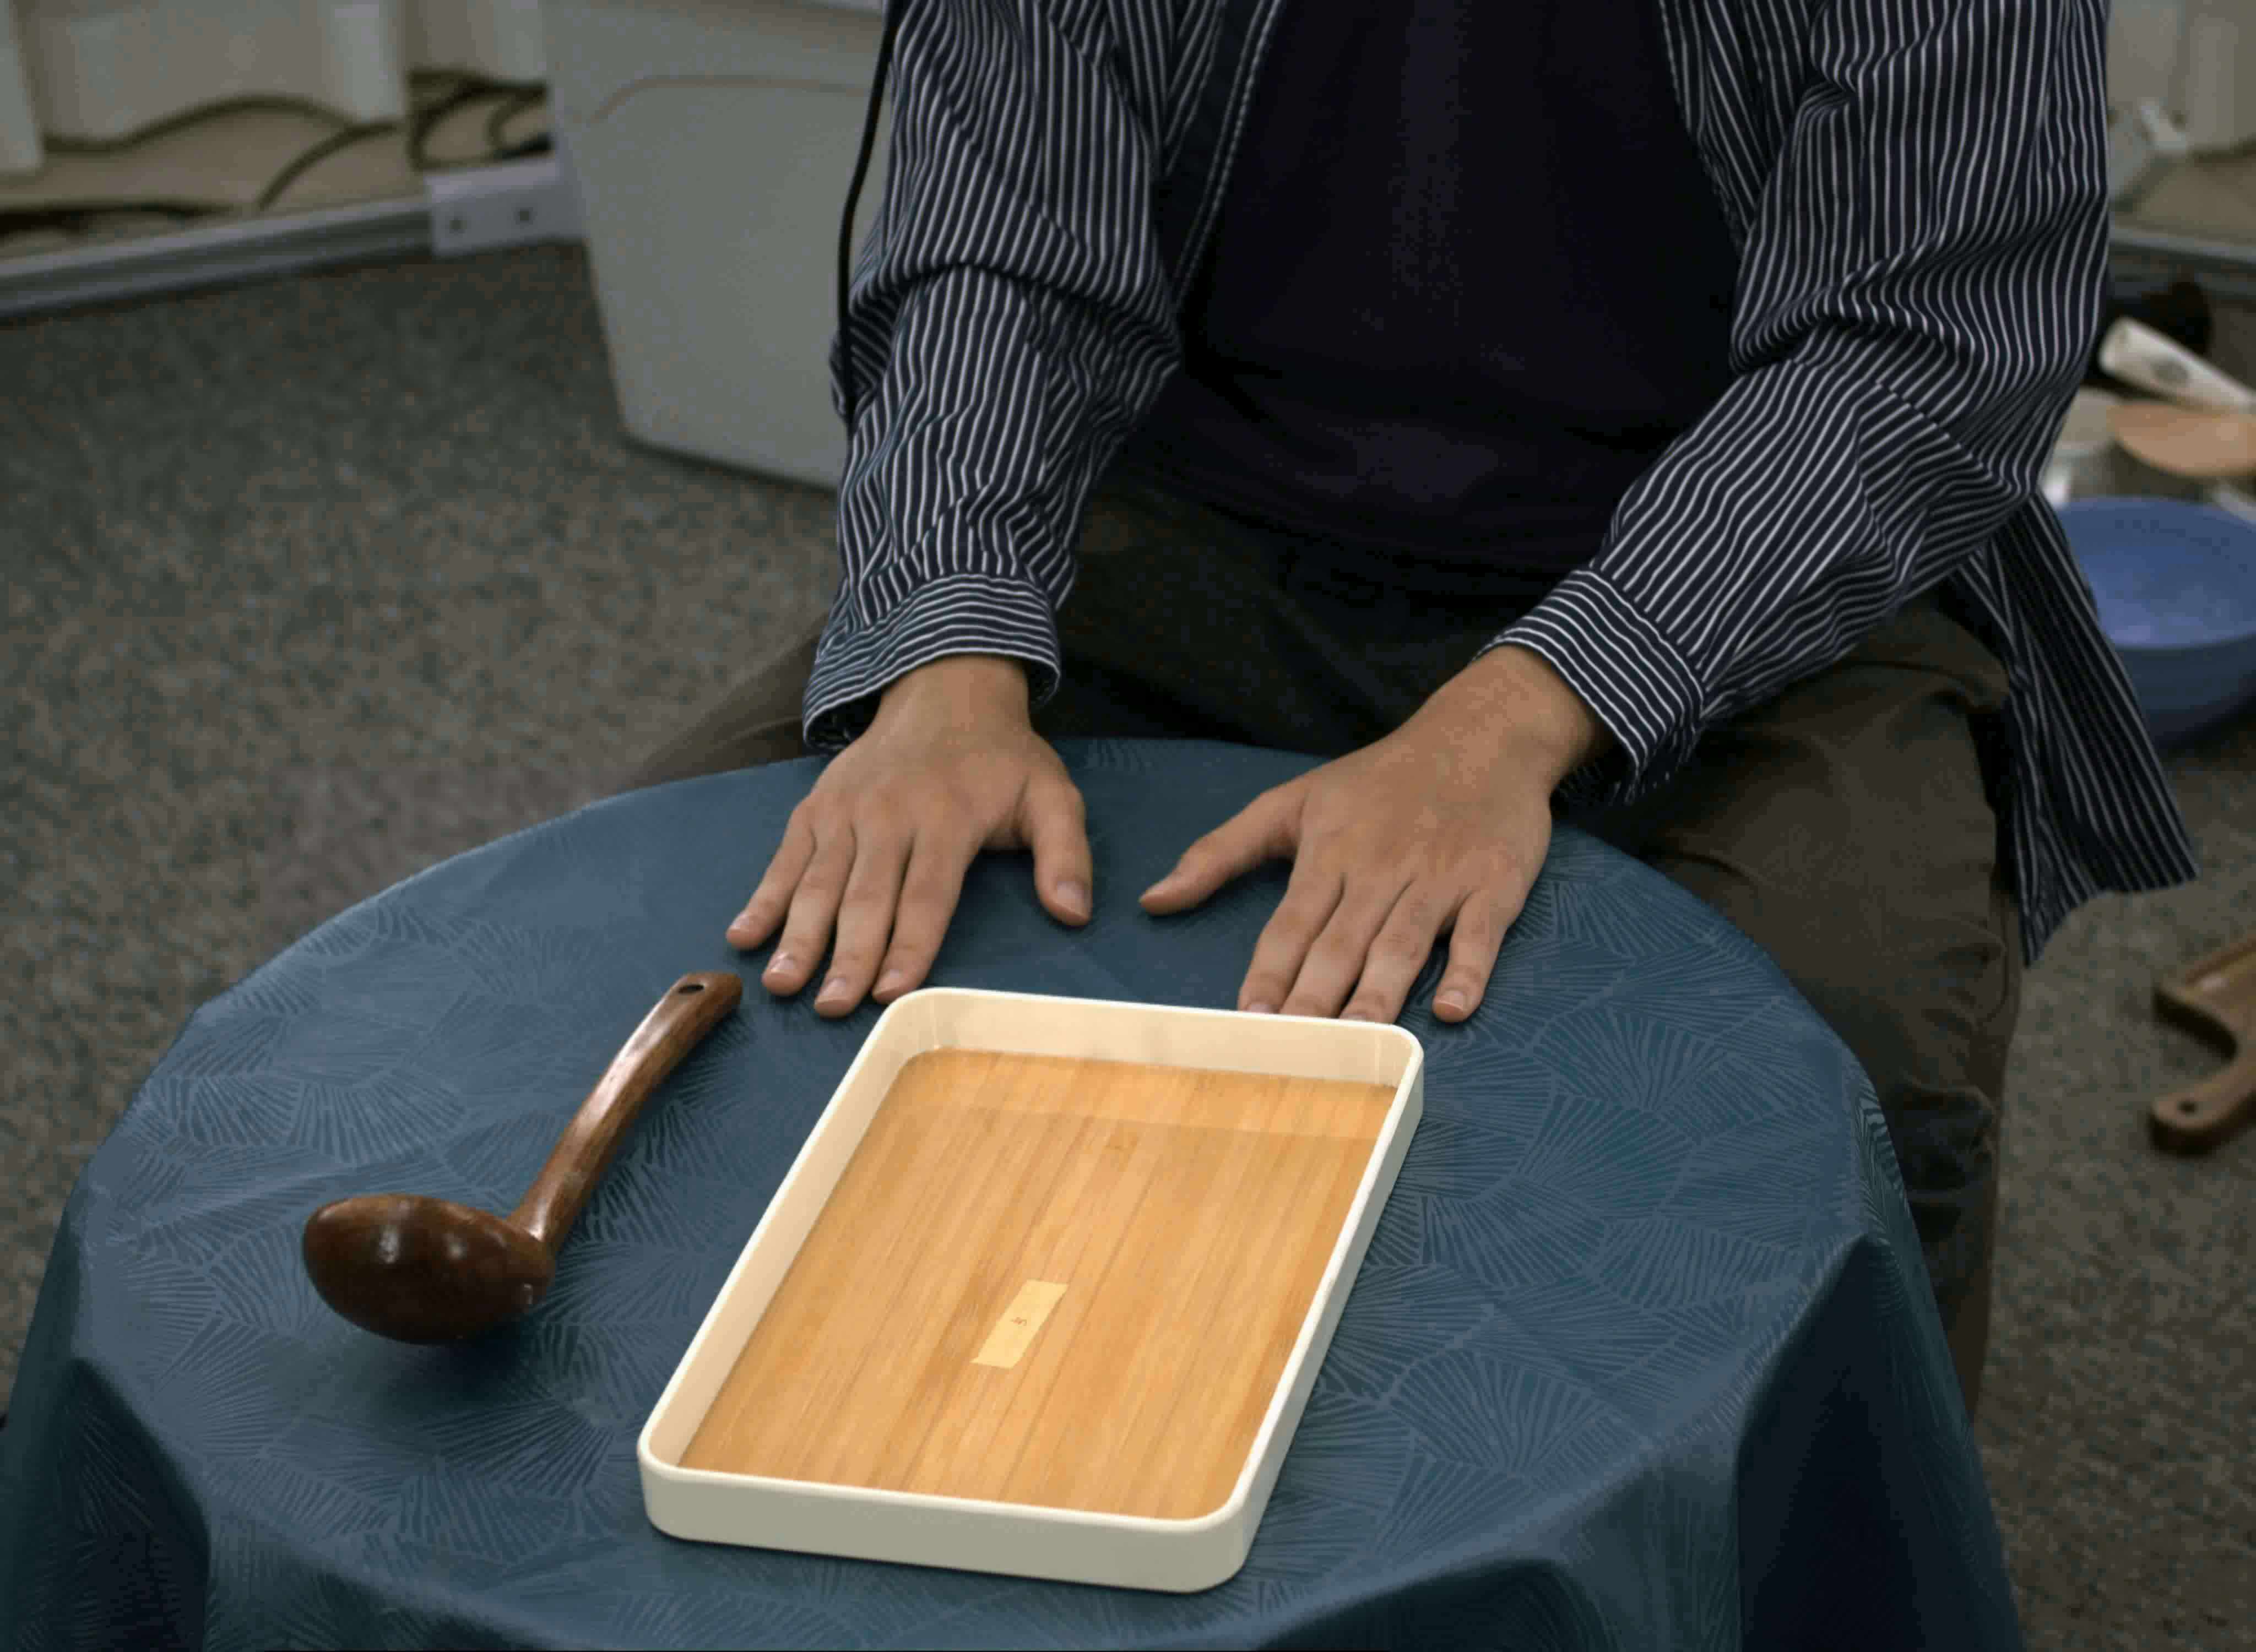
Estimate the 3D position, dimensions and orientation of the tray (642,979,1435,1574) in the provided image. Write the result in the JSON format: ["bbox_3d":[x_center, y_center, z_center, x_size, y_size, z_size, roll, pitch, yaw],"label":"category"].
[{"bbox_3d":[-0.022,0.138,1.799,0.190,0.027,0.305,4,28,14],"label":"tray"}]

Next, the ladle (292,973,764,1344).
[{"bbox_3d":[-0.189,0.090,1.854,0.081,0.076,0.279,2,28,20],"label":"ladle"}]
